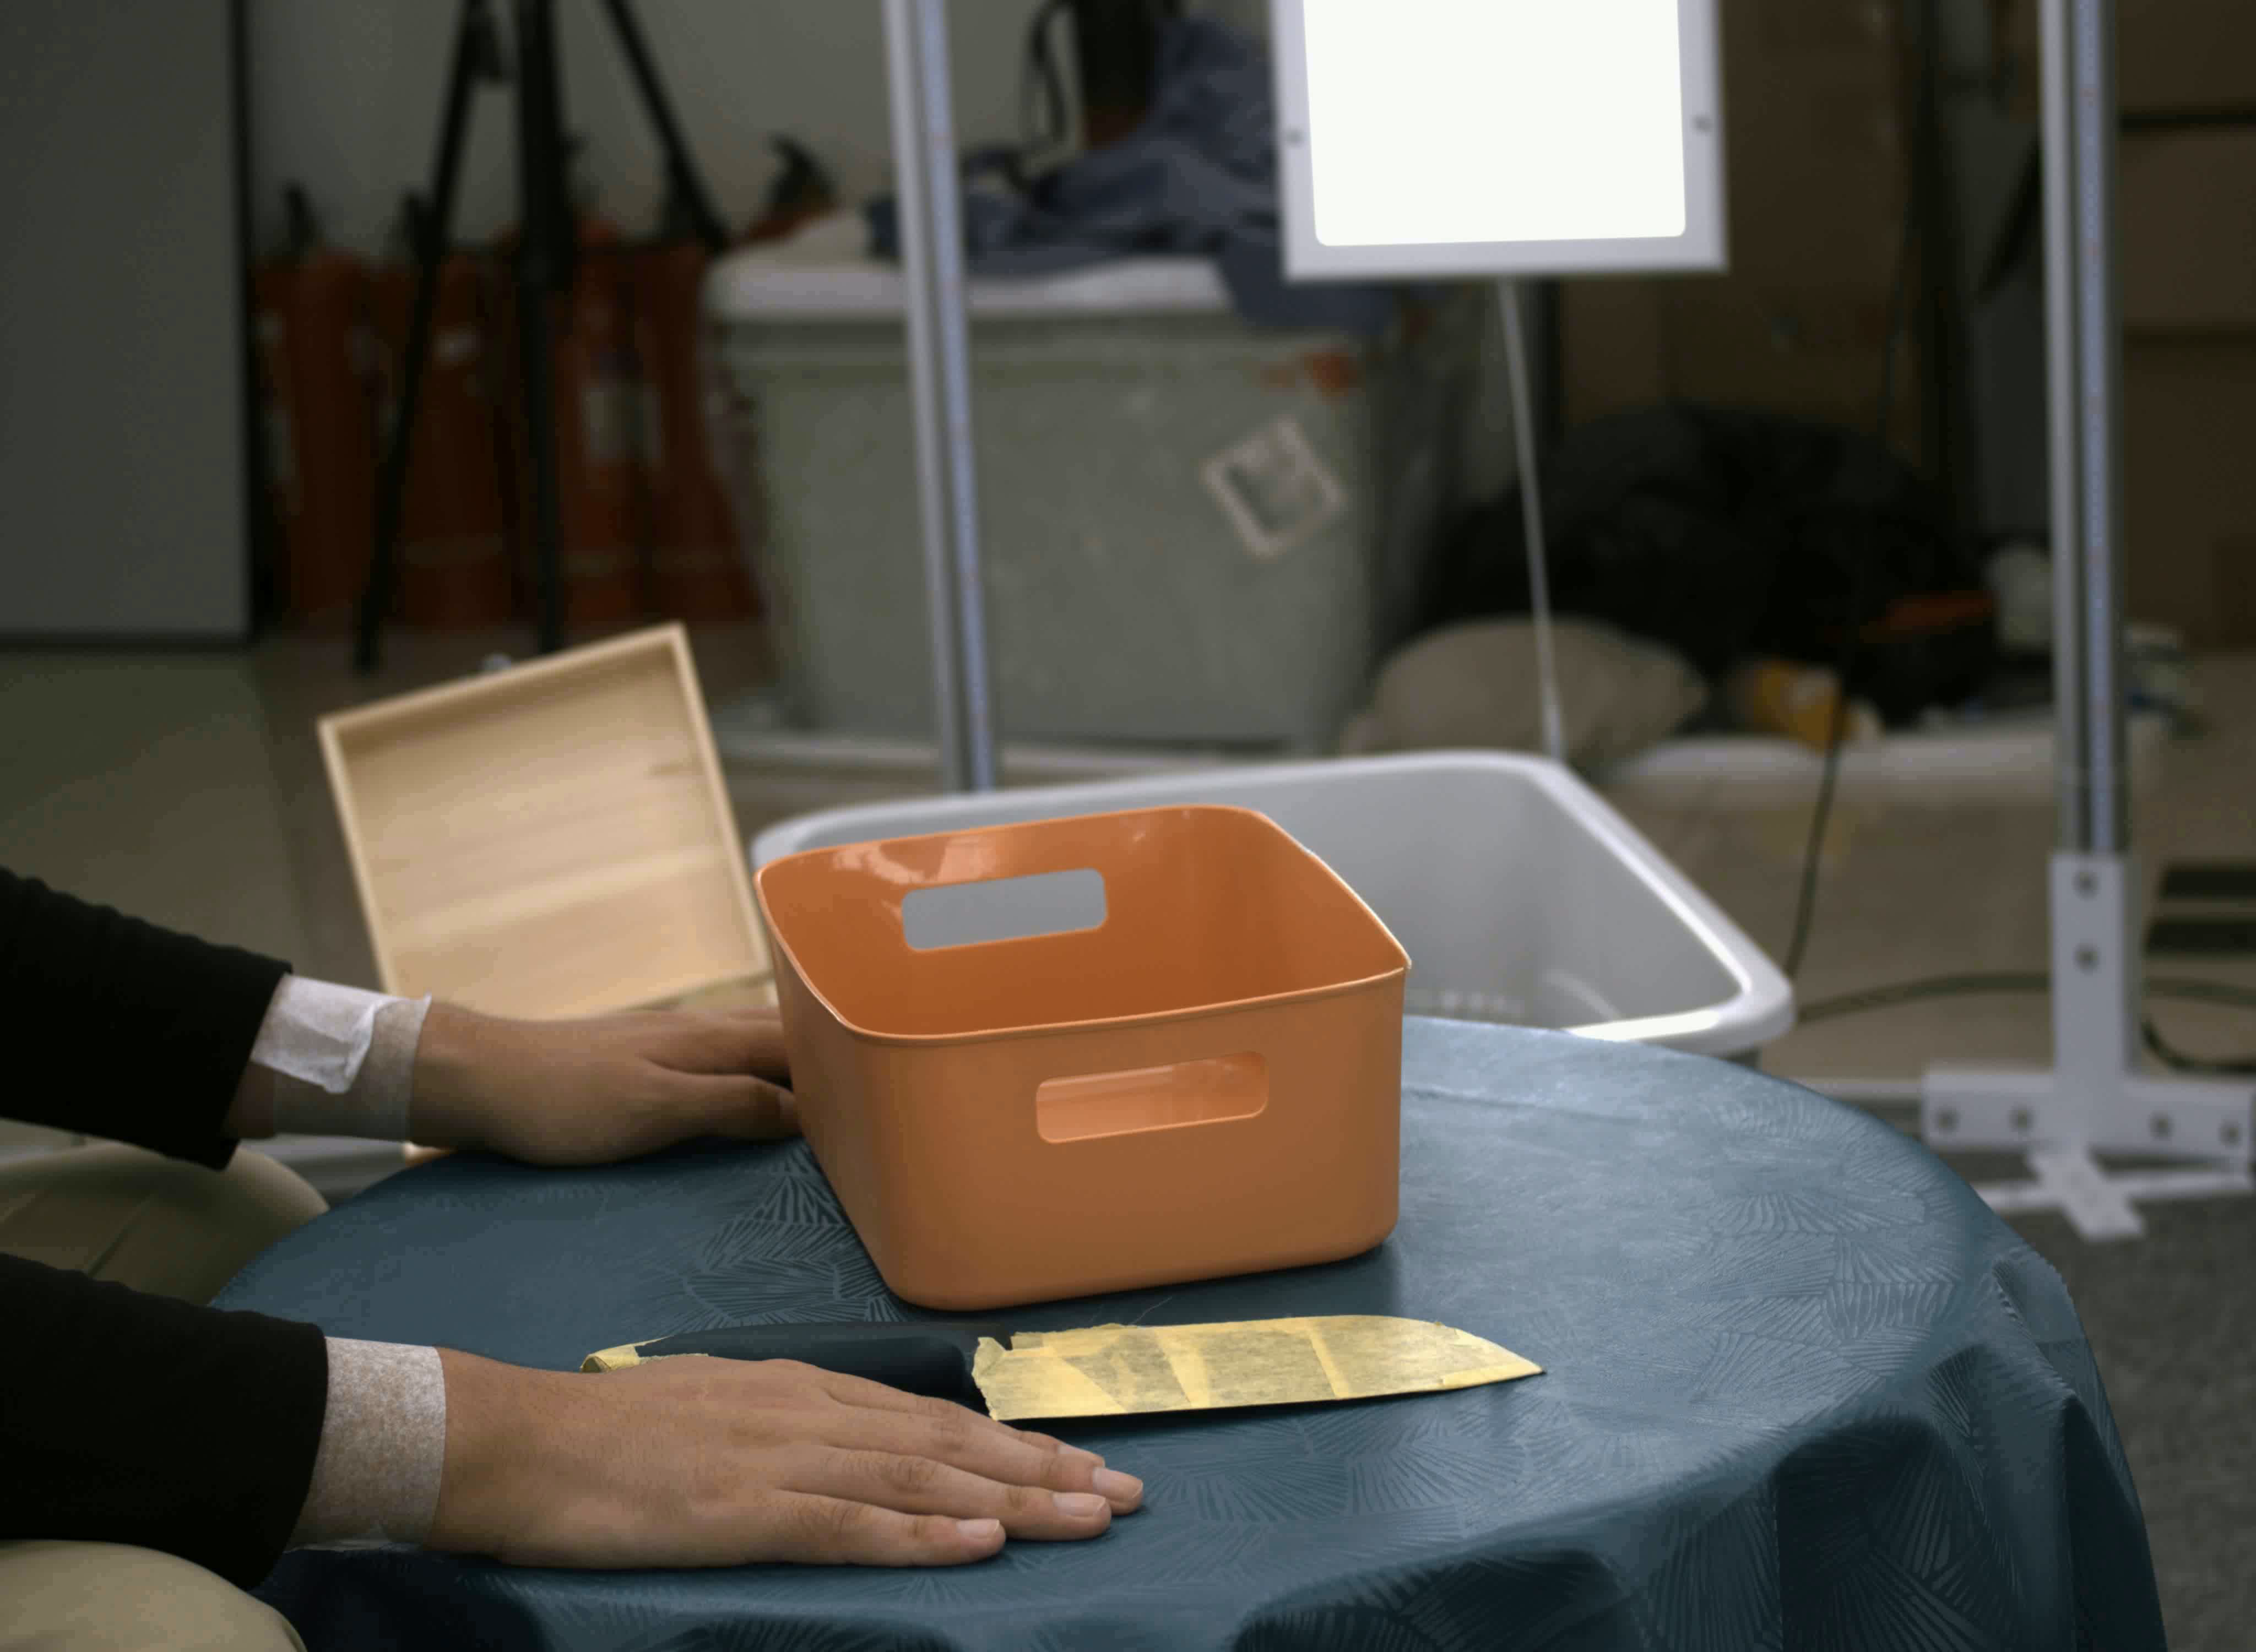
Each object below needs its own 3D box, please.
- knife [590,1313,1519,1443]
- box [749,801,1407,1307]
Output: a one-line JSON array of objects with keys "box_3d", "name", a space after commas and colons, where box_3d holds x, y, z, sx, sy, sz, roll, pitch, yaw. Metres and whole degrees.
[{"box_3d": [-0.022, 0.170, 1.699, 0.288, 0.027, 0.081, -4, 11, -1], "name": "knife"}, {"box_3d": [-0.020, 0.076, 1.892, 0.197, 0.103, 0.275, -7, 14, -10], "name": "box"}]
